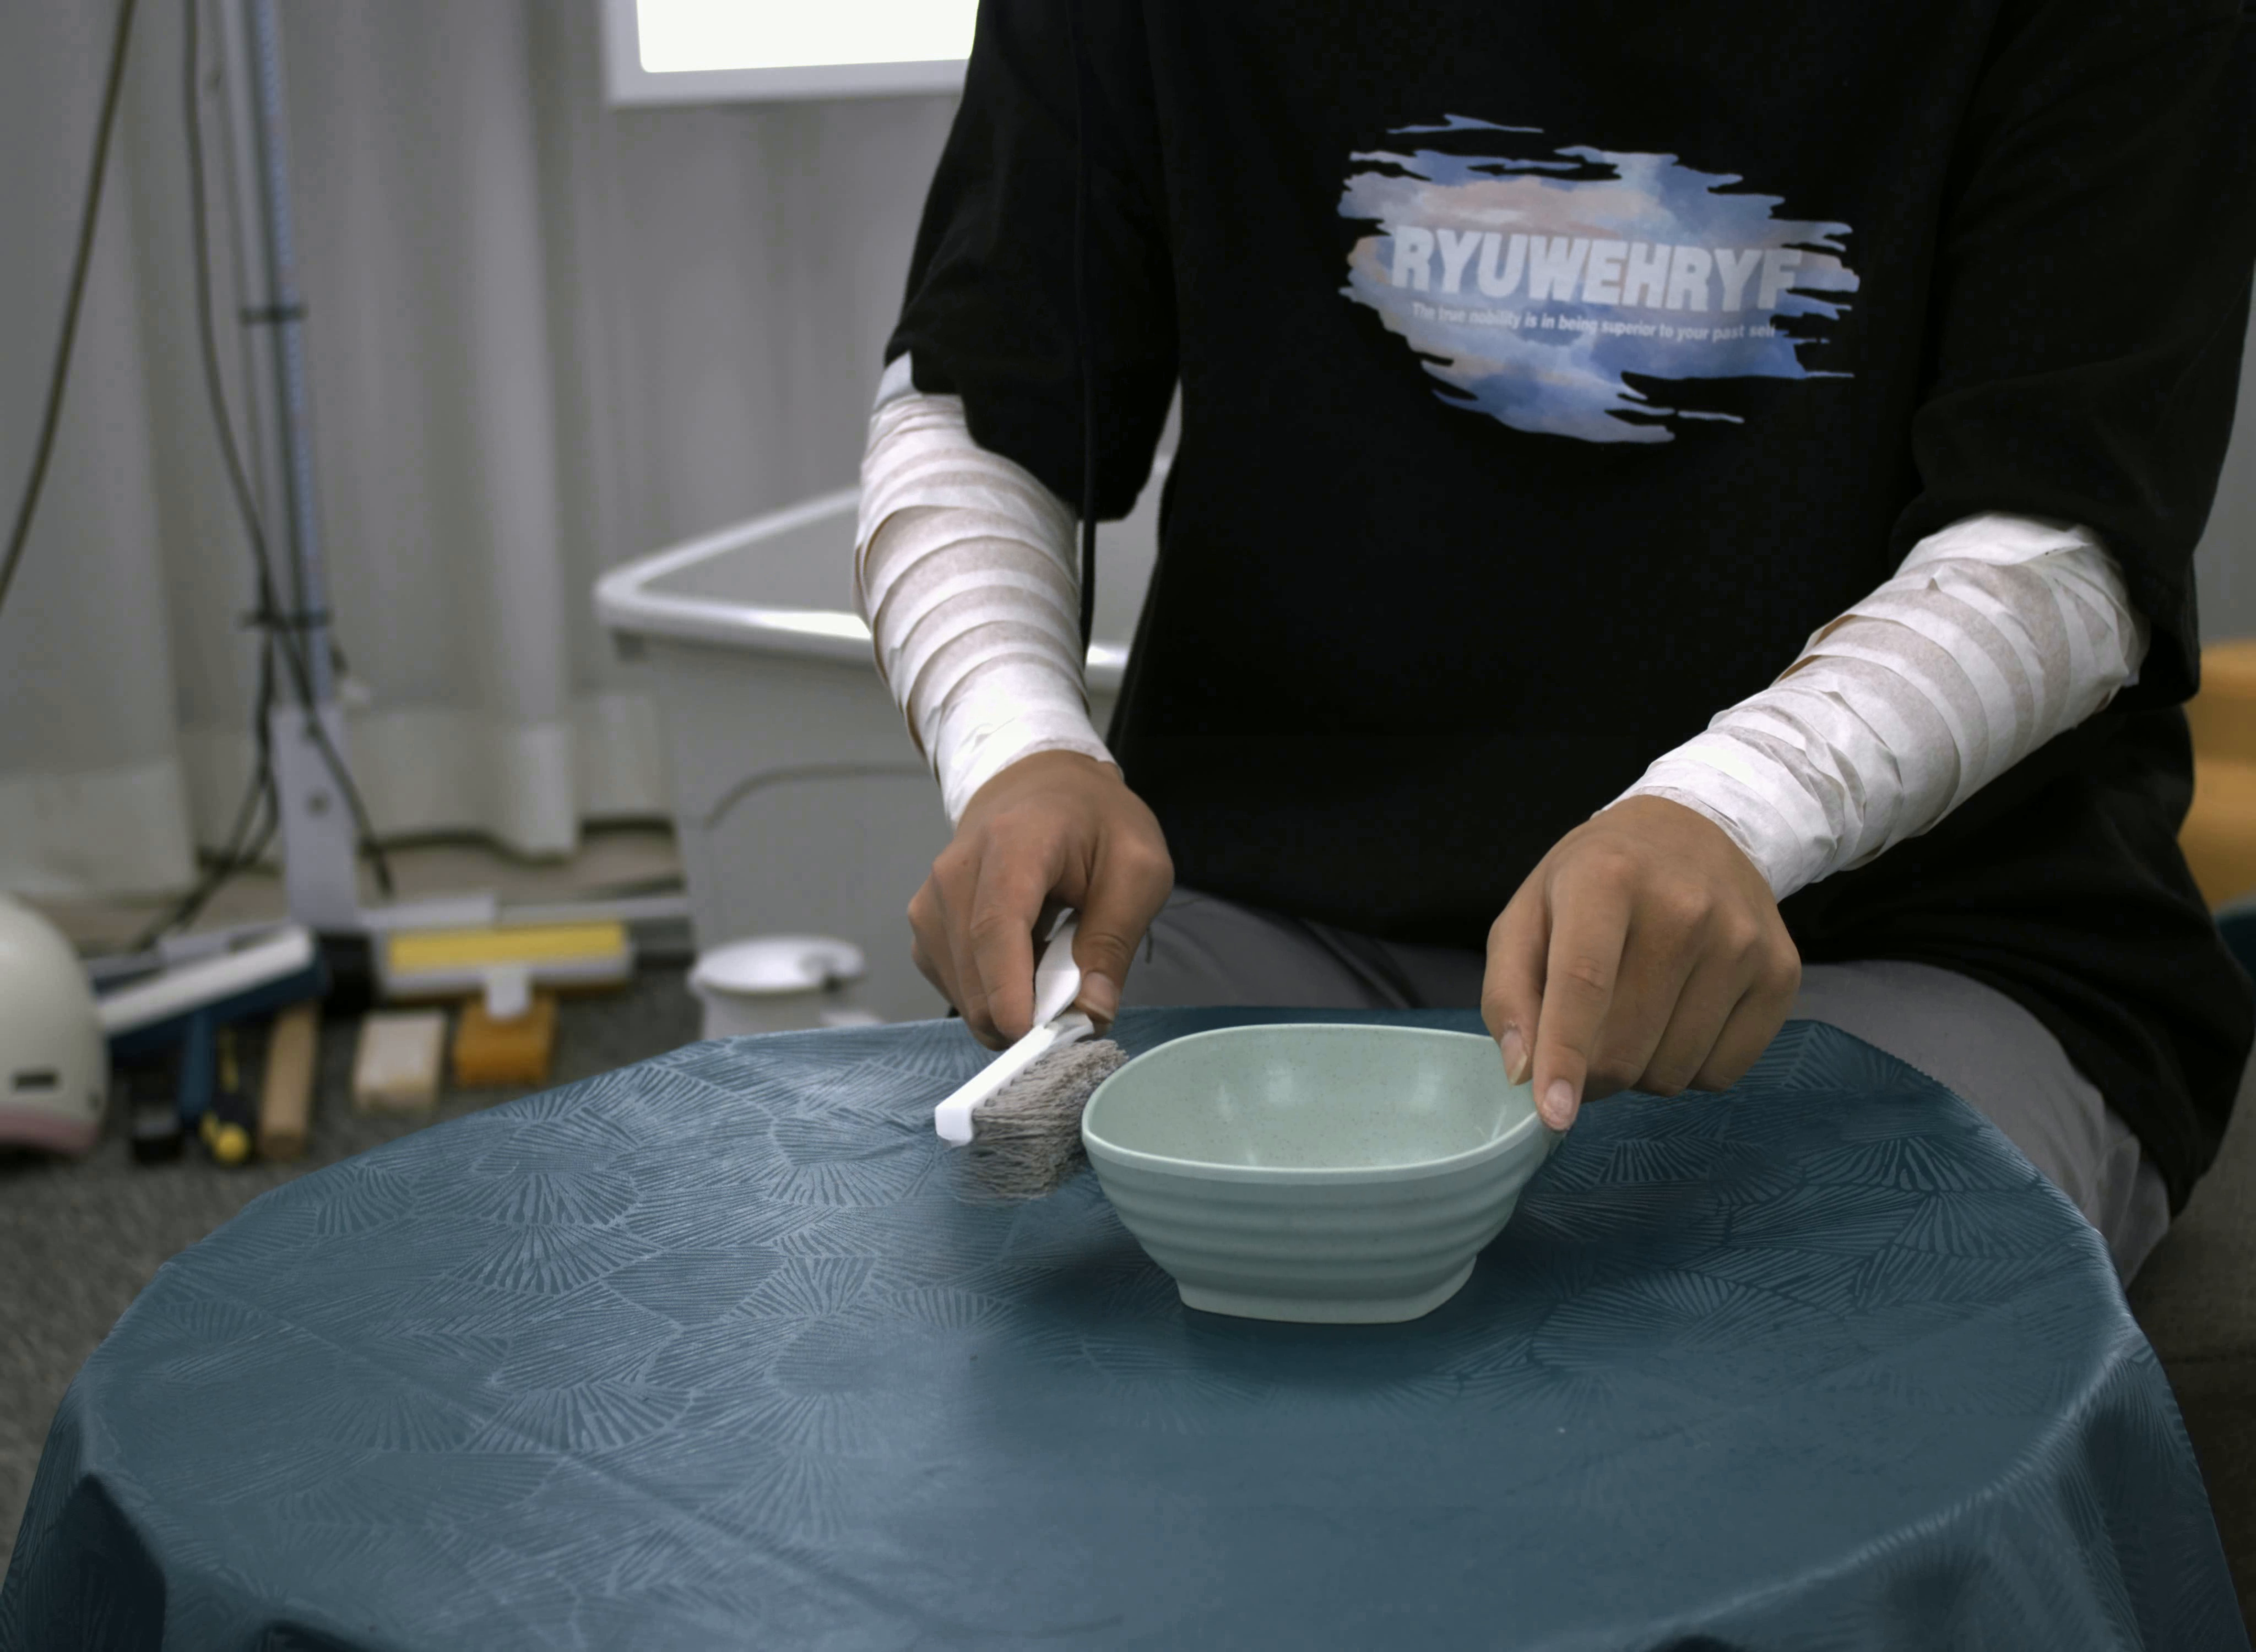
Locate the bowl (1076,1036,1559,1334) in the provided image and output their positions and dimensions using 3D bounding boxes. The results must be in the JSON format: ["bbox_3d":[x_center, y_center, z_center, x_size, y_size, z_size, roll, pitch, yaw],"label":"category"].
[{"bbox_3d":[0.057,0.109,1.622,0.151,0.058,0.152,-1,13,0],"label":"bowl"}]

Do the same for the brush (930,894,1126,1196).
[{"bbox_3d":[-0.014,0.064,1.724,0.050,0.034,0.245,-5,15,13],"label":"brush"}]
